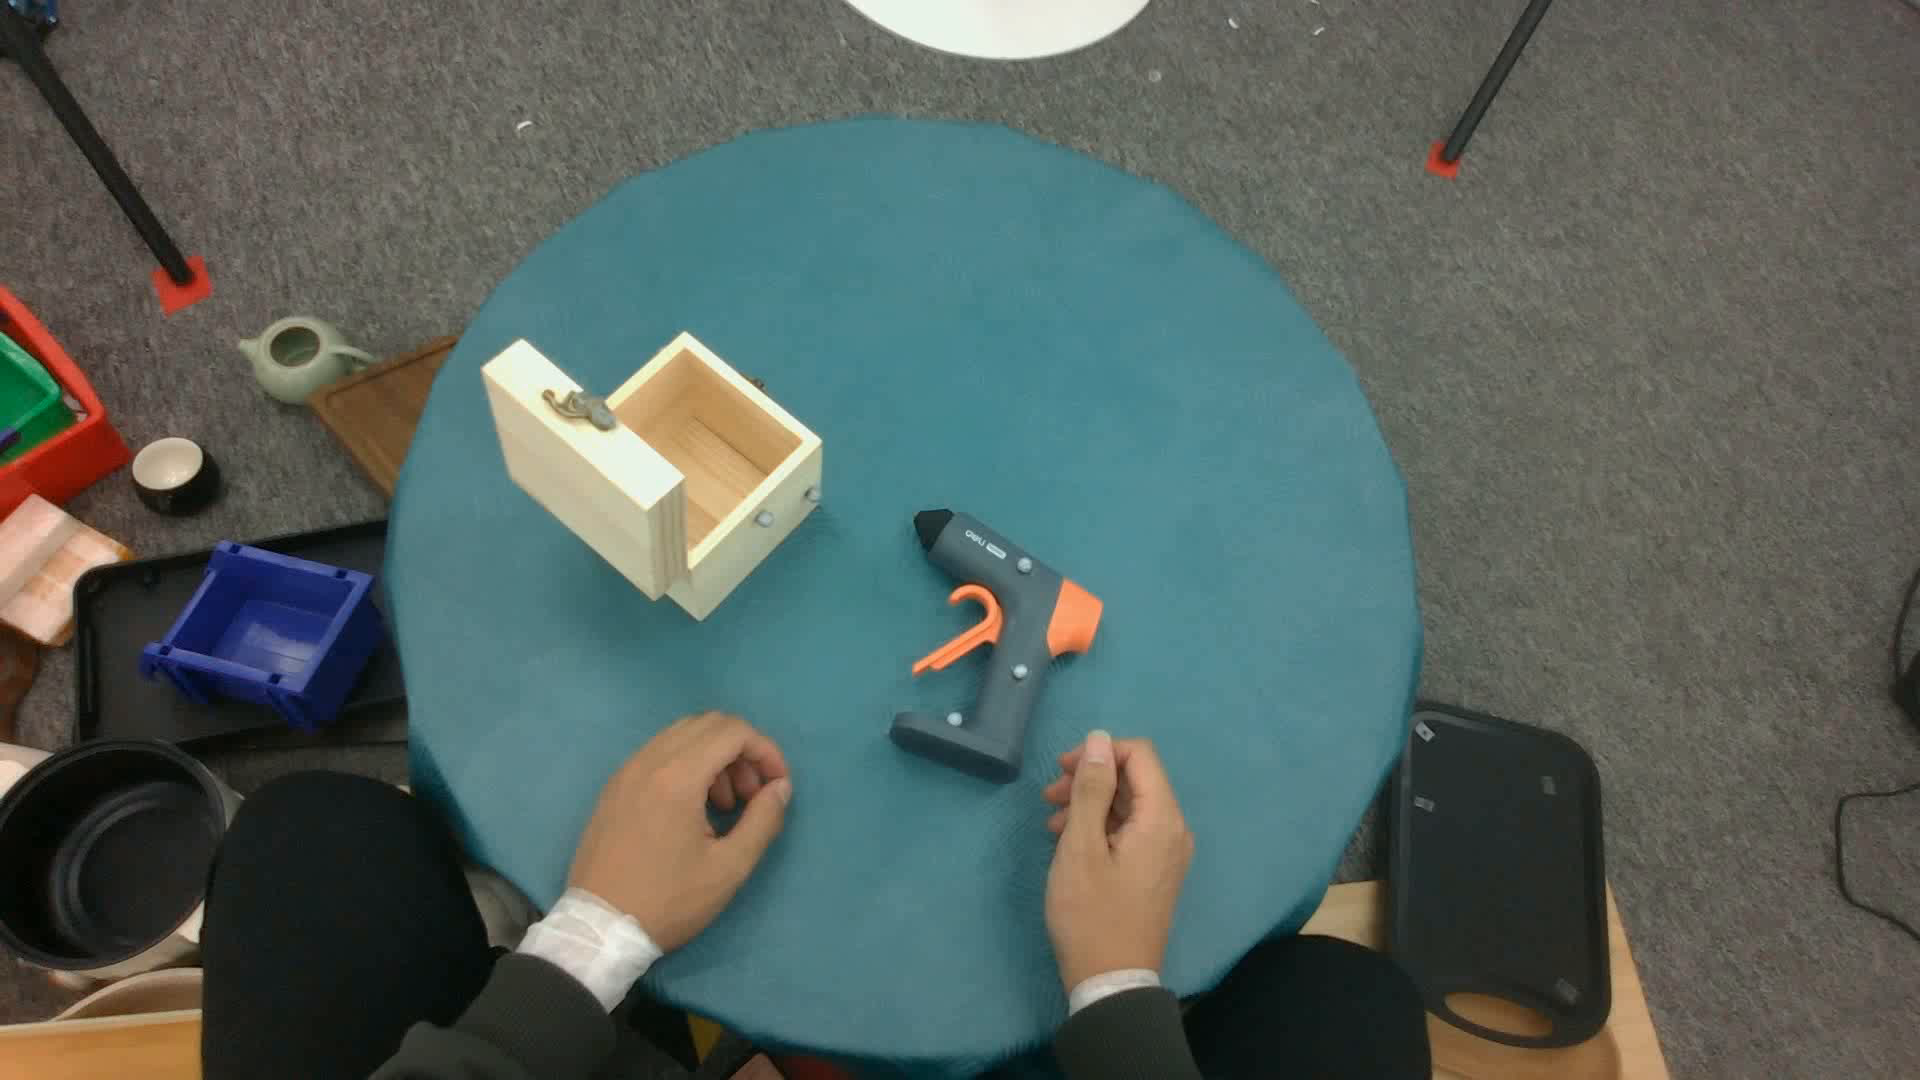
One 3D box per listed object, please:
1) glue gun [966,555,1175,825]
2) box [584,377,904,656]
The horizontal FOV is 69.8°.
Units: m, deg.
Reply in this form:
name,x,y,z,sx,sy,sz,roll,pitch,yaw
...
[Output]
name,x,y,z,sx,sy,sz,roll,pitch,yaw
glue gun,0.053,0.080,0.777,0.118,0.041,0.140,18,61,6
box,-0.105,-0.031,0.733,0.102,0.183,0.134,38,66,14
